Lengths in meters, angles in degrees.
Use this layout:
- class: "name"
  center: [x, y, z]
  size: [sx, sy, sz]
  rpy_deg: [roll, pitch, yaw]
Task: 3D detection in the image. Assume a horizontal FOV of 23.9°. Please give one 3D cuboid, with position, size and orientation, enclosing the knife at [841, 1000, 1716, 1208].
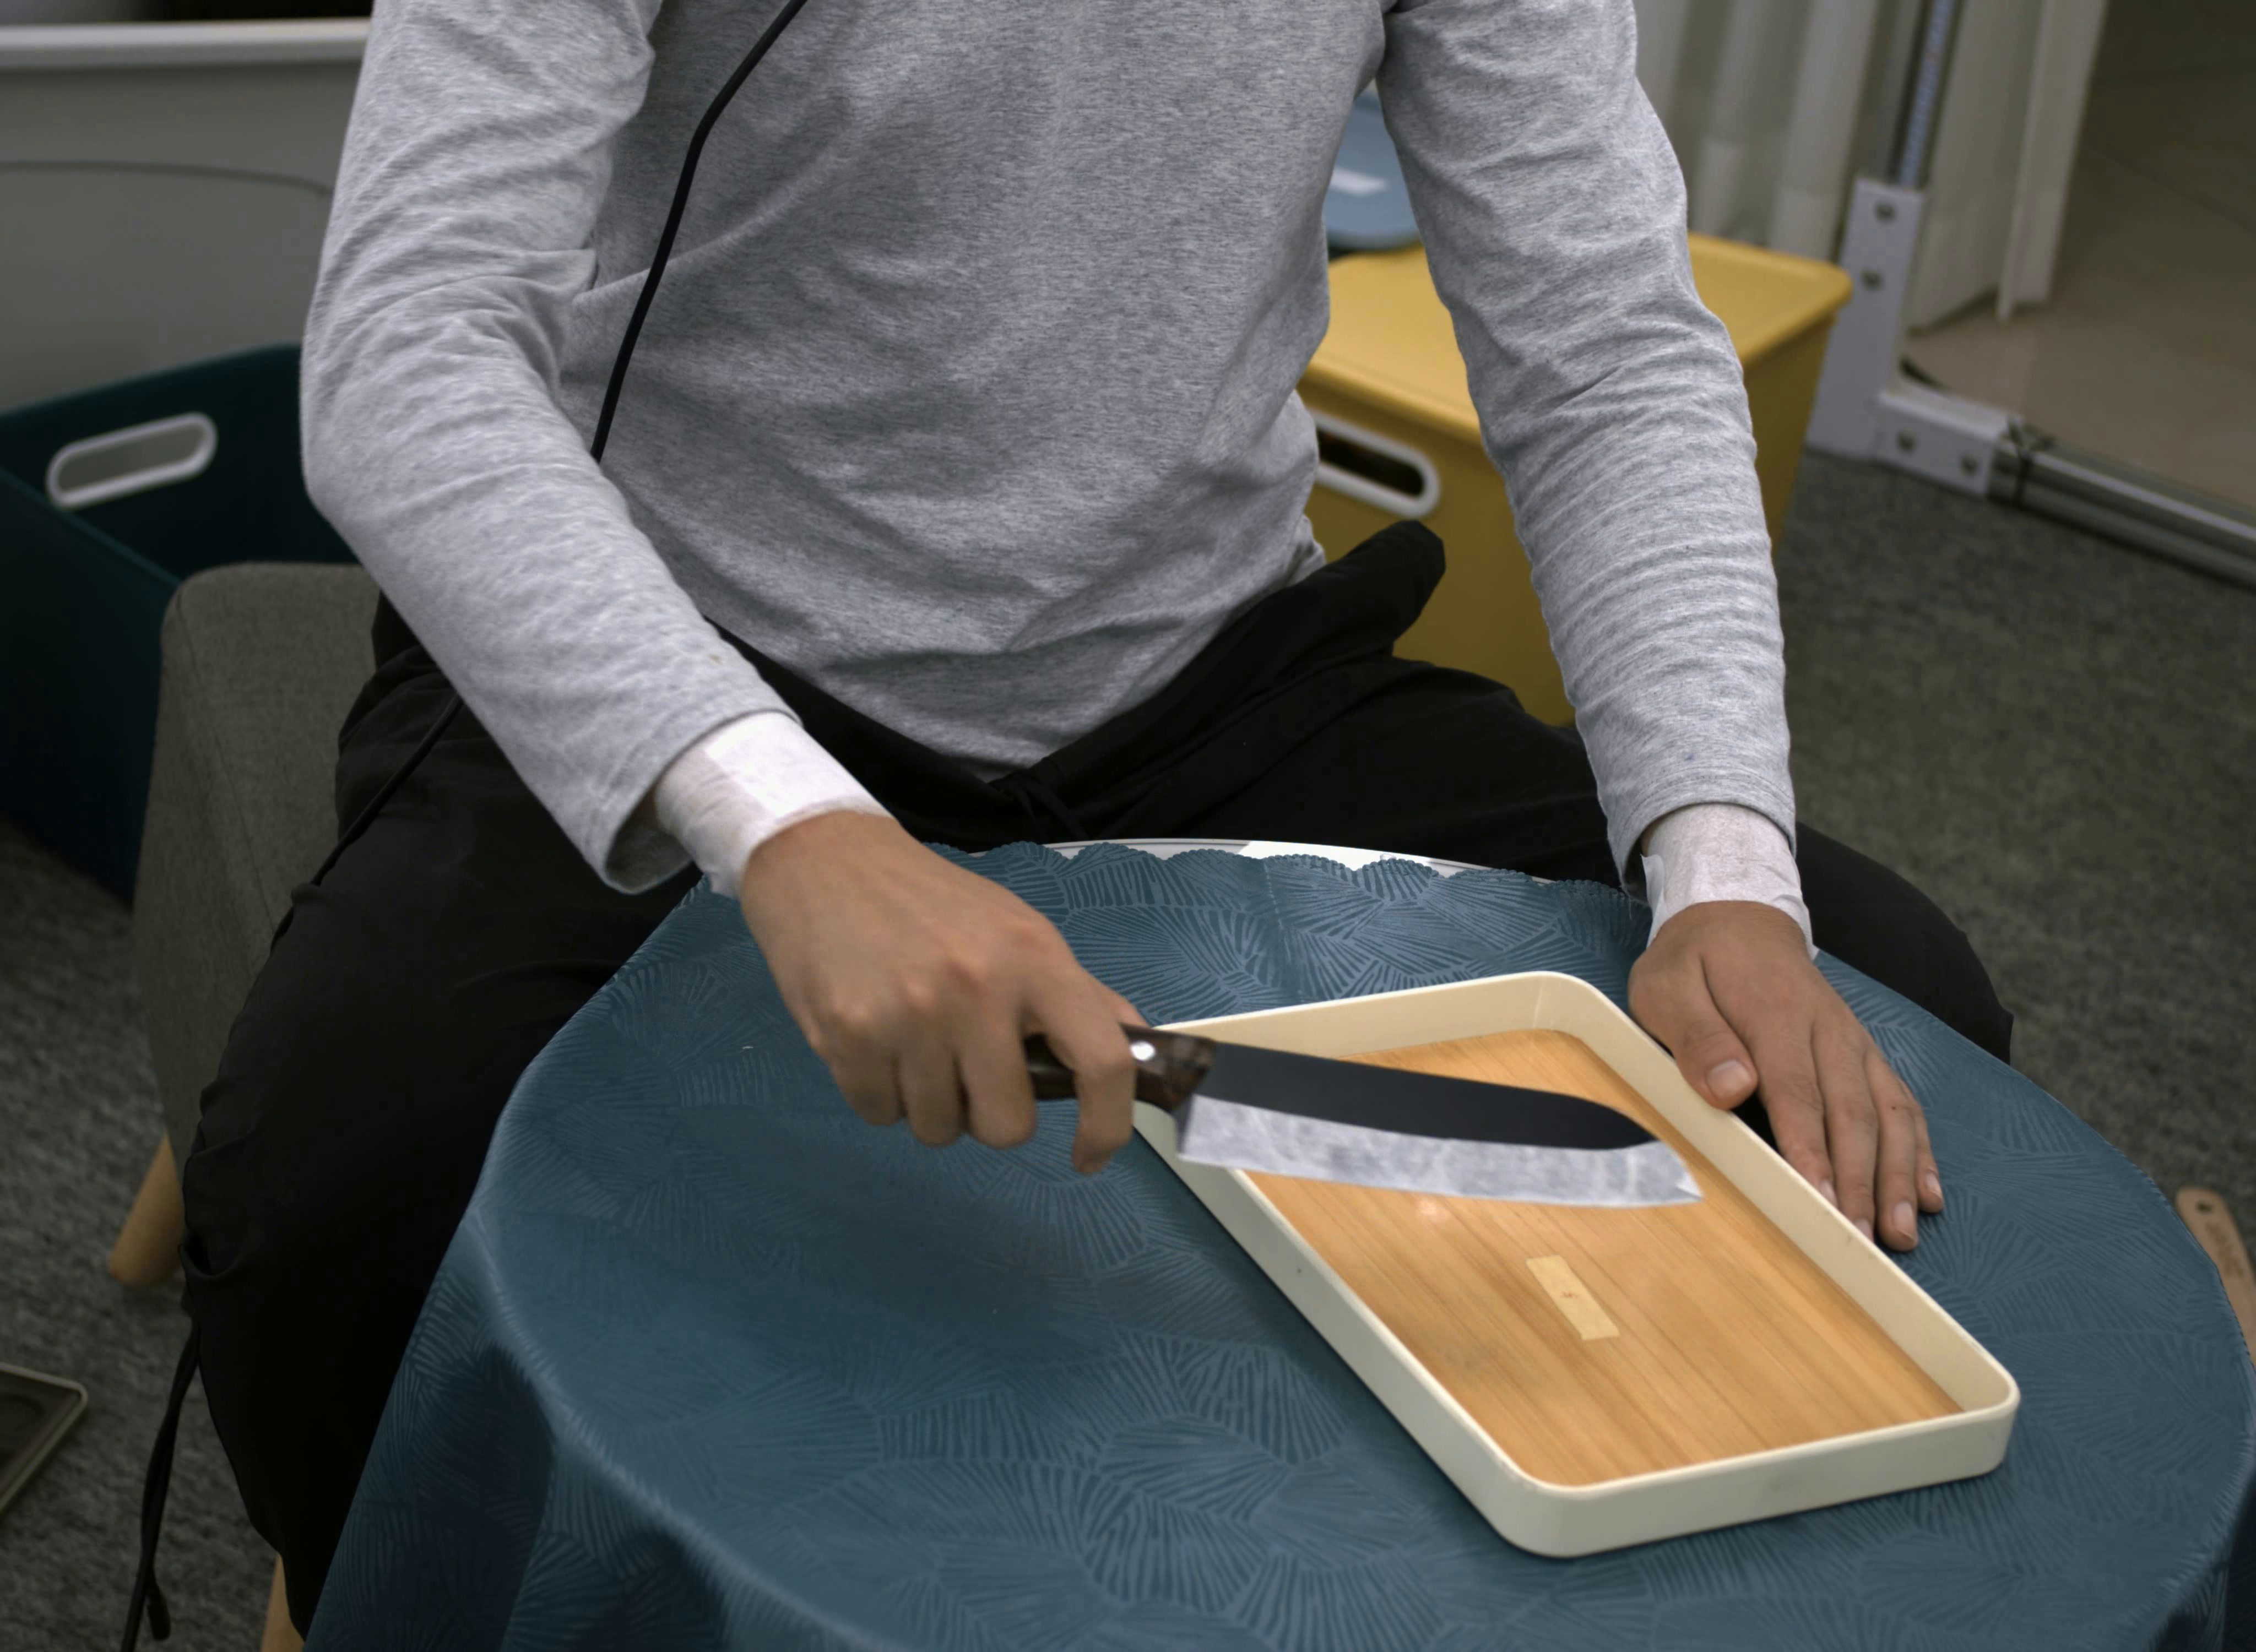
- class: "knife"
  center: [0.046, 0.090, 1.707]
  size: [0.289, 0.020, 0.050]
  rpy_deg: [10, 62, 9]

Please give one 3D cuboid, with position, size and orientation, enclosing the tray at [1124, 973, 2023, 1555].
- class: "tray"
  center: [0.142, 0.139, 1.778]
  size: [0.190, 0.027, 0.303]
  rpy_deg: [-7, 29, -25]
